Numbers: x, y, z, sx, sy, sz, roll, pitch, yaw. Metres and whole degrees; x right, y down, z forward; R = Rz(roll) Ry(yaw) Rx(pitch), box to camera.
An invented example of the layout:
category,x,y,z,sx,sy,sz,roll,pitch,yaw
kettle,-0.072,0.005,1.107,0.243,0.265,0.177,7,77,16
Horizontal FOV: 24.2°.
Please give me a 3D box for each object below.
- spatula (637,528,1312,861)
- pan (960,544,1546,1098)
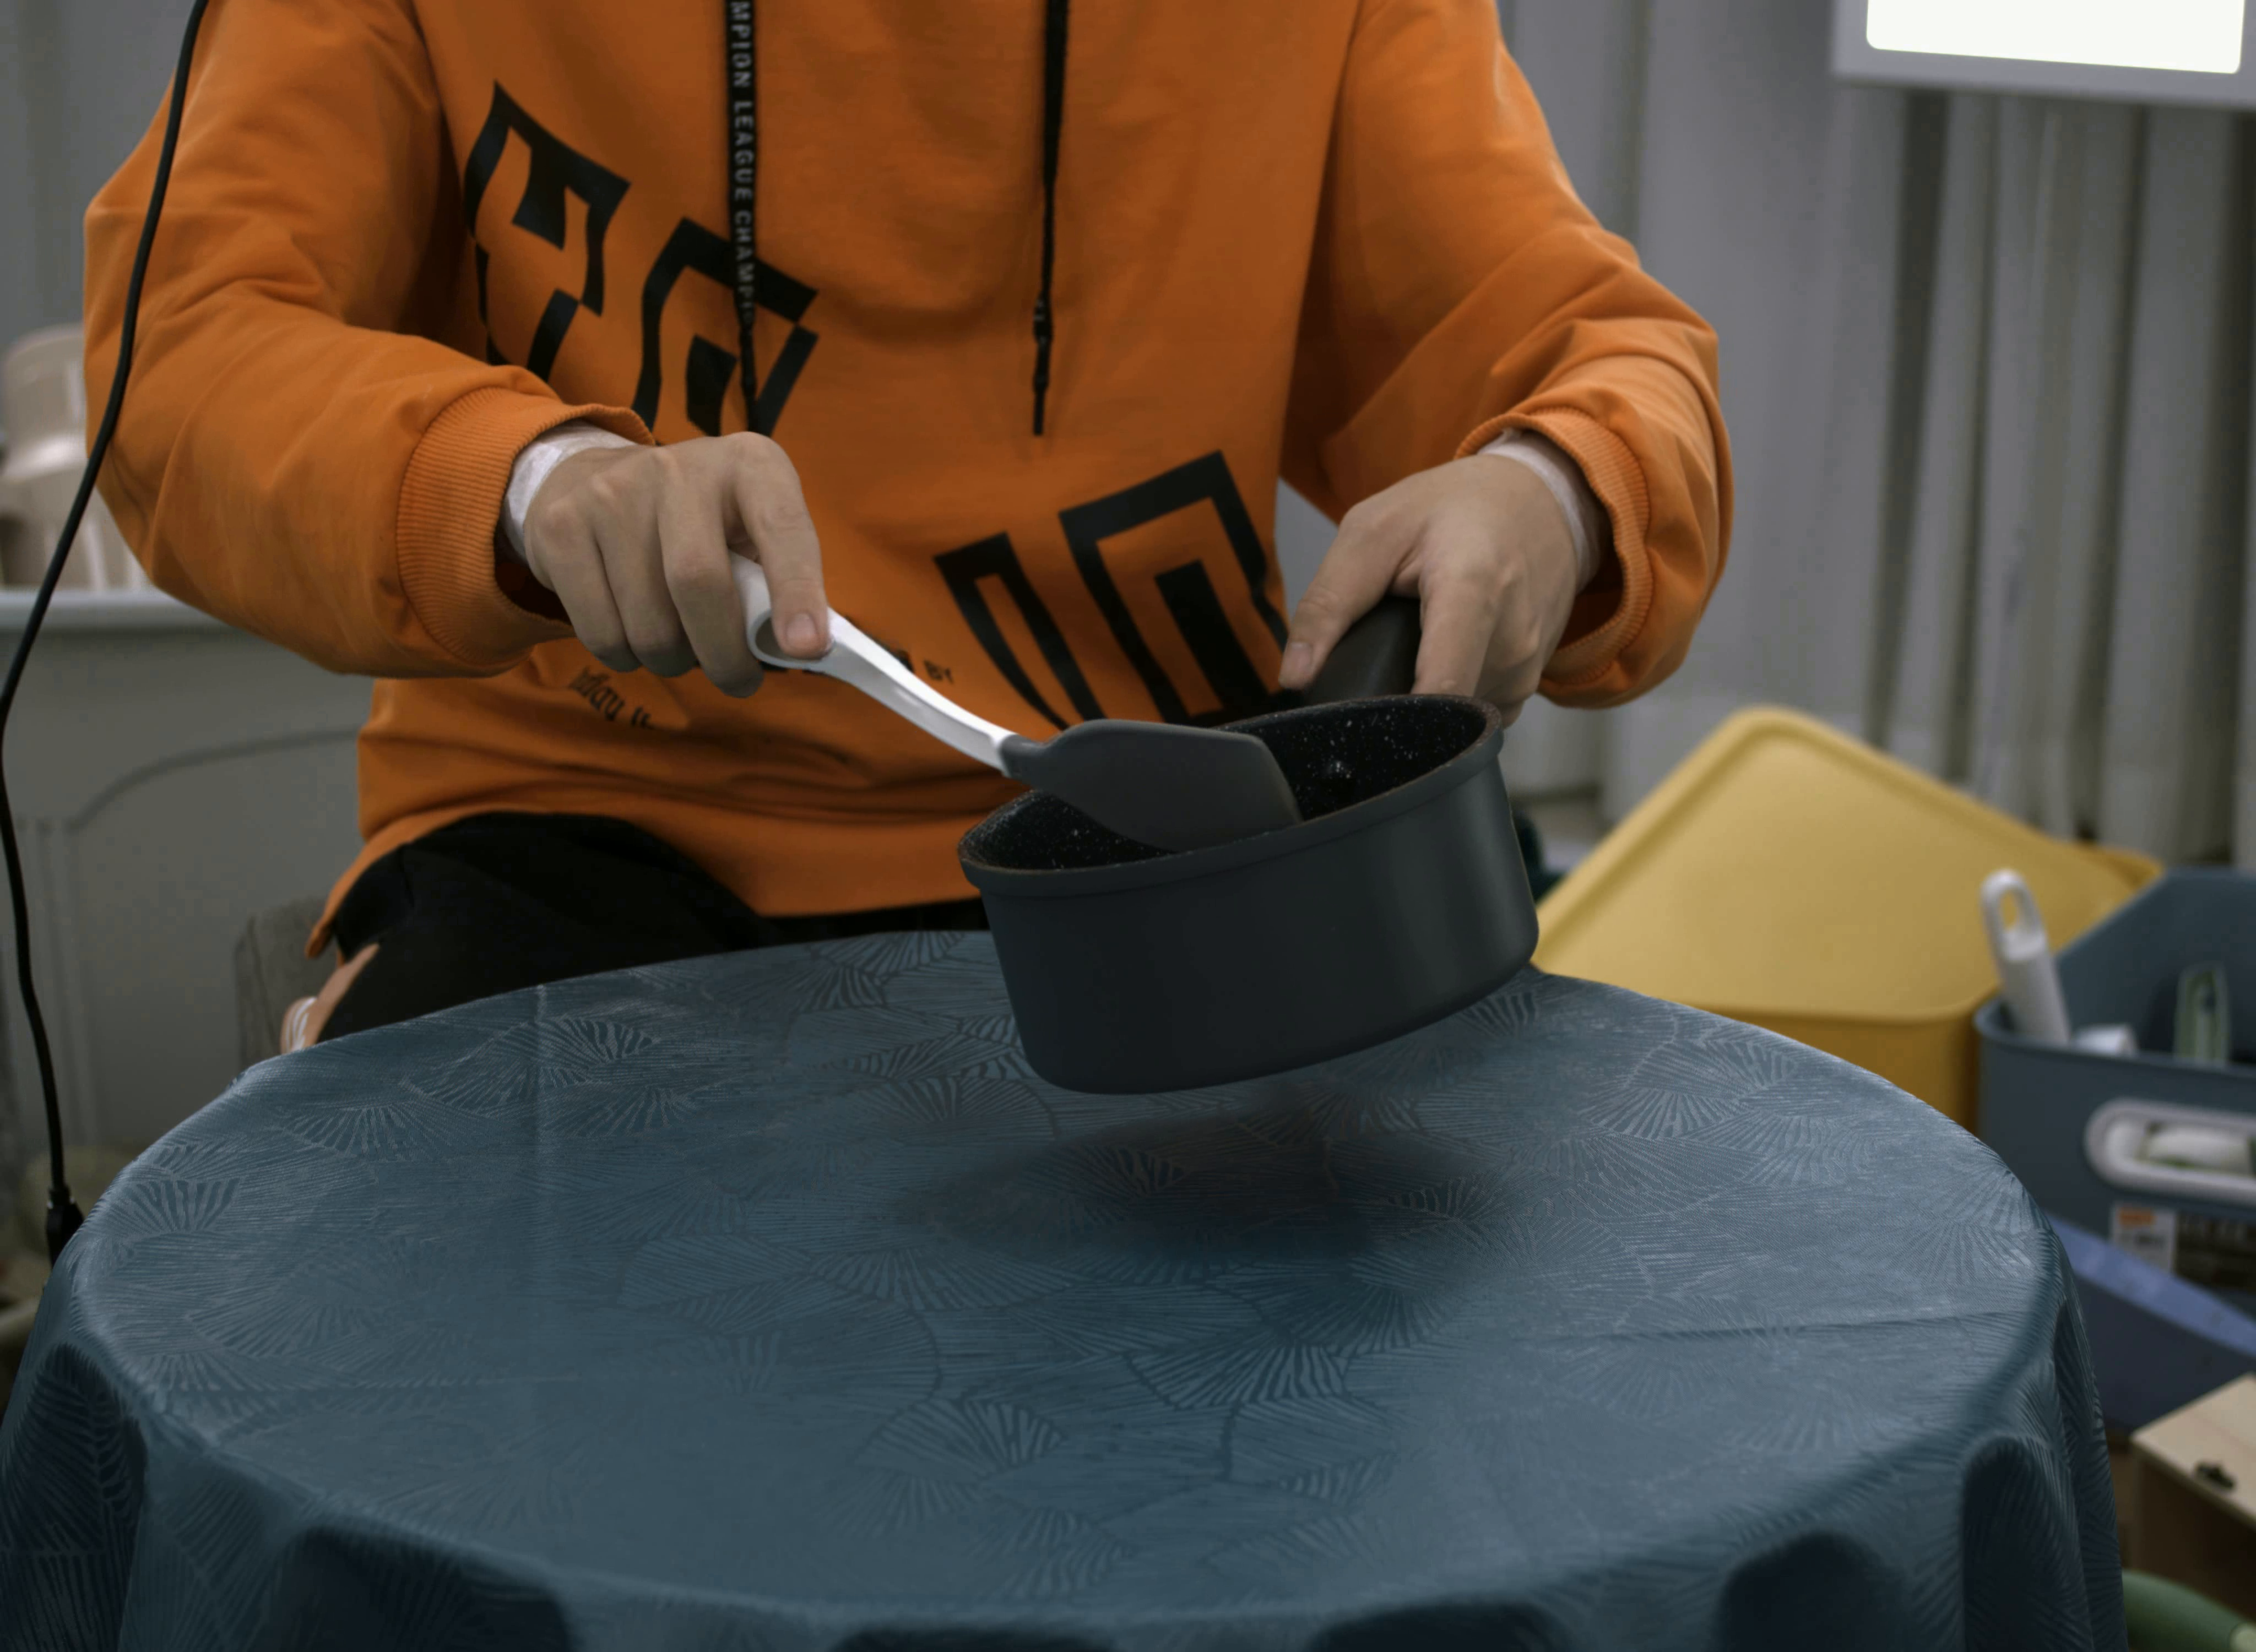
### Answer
category,x,y,z,sx,sy,sz,roll,pitch,yaw
spatula,-0.053,-0.040,1.619,0.032,0.059,0.283,-39,41,-26
pan,0.065,-0.006,1.681,0.170,0.087,0.328,-9,15,22
